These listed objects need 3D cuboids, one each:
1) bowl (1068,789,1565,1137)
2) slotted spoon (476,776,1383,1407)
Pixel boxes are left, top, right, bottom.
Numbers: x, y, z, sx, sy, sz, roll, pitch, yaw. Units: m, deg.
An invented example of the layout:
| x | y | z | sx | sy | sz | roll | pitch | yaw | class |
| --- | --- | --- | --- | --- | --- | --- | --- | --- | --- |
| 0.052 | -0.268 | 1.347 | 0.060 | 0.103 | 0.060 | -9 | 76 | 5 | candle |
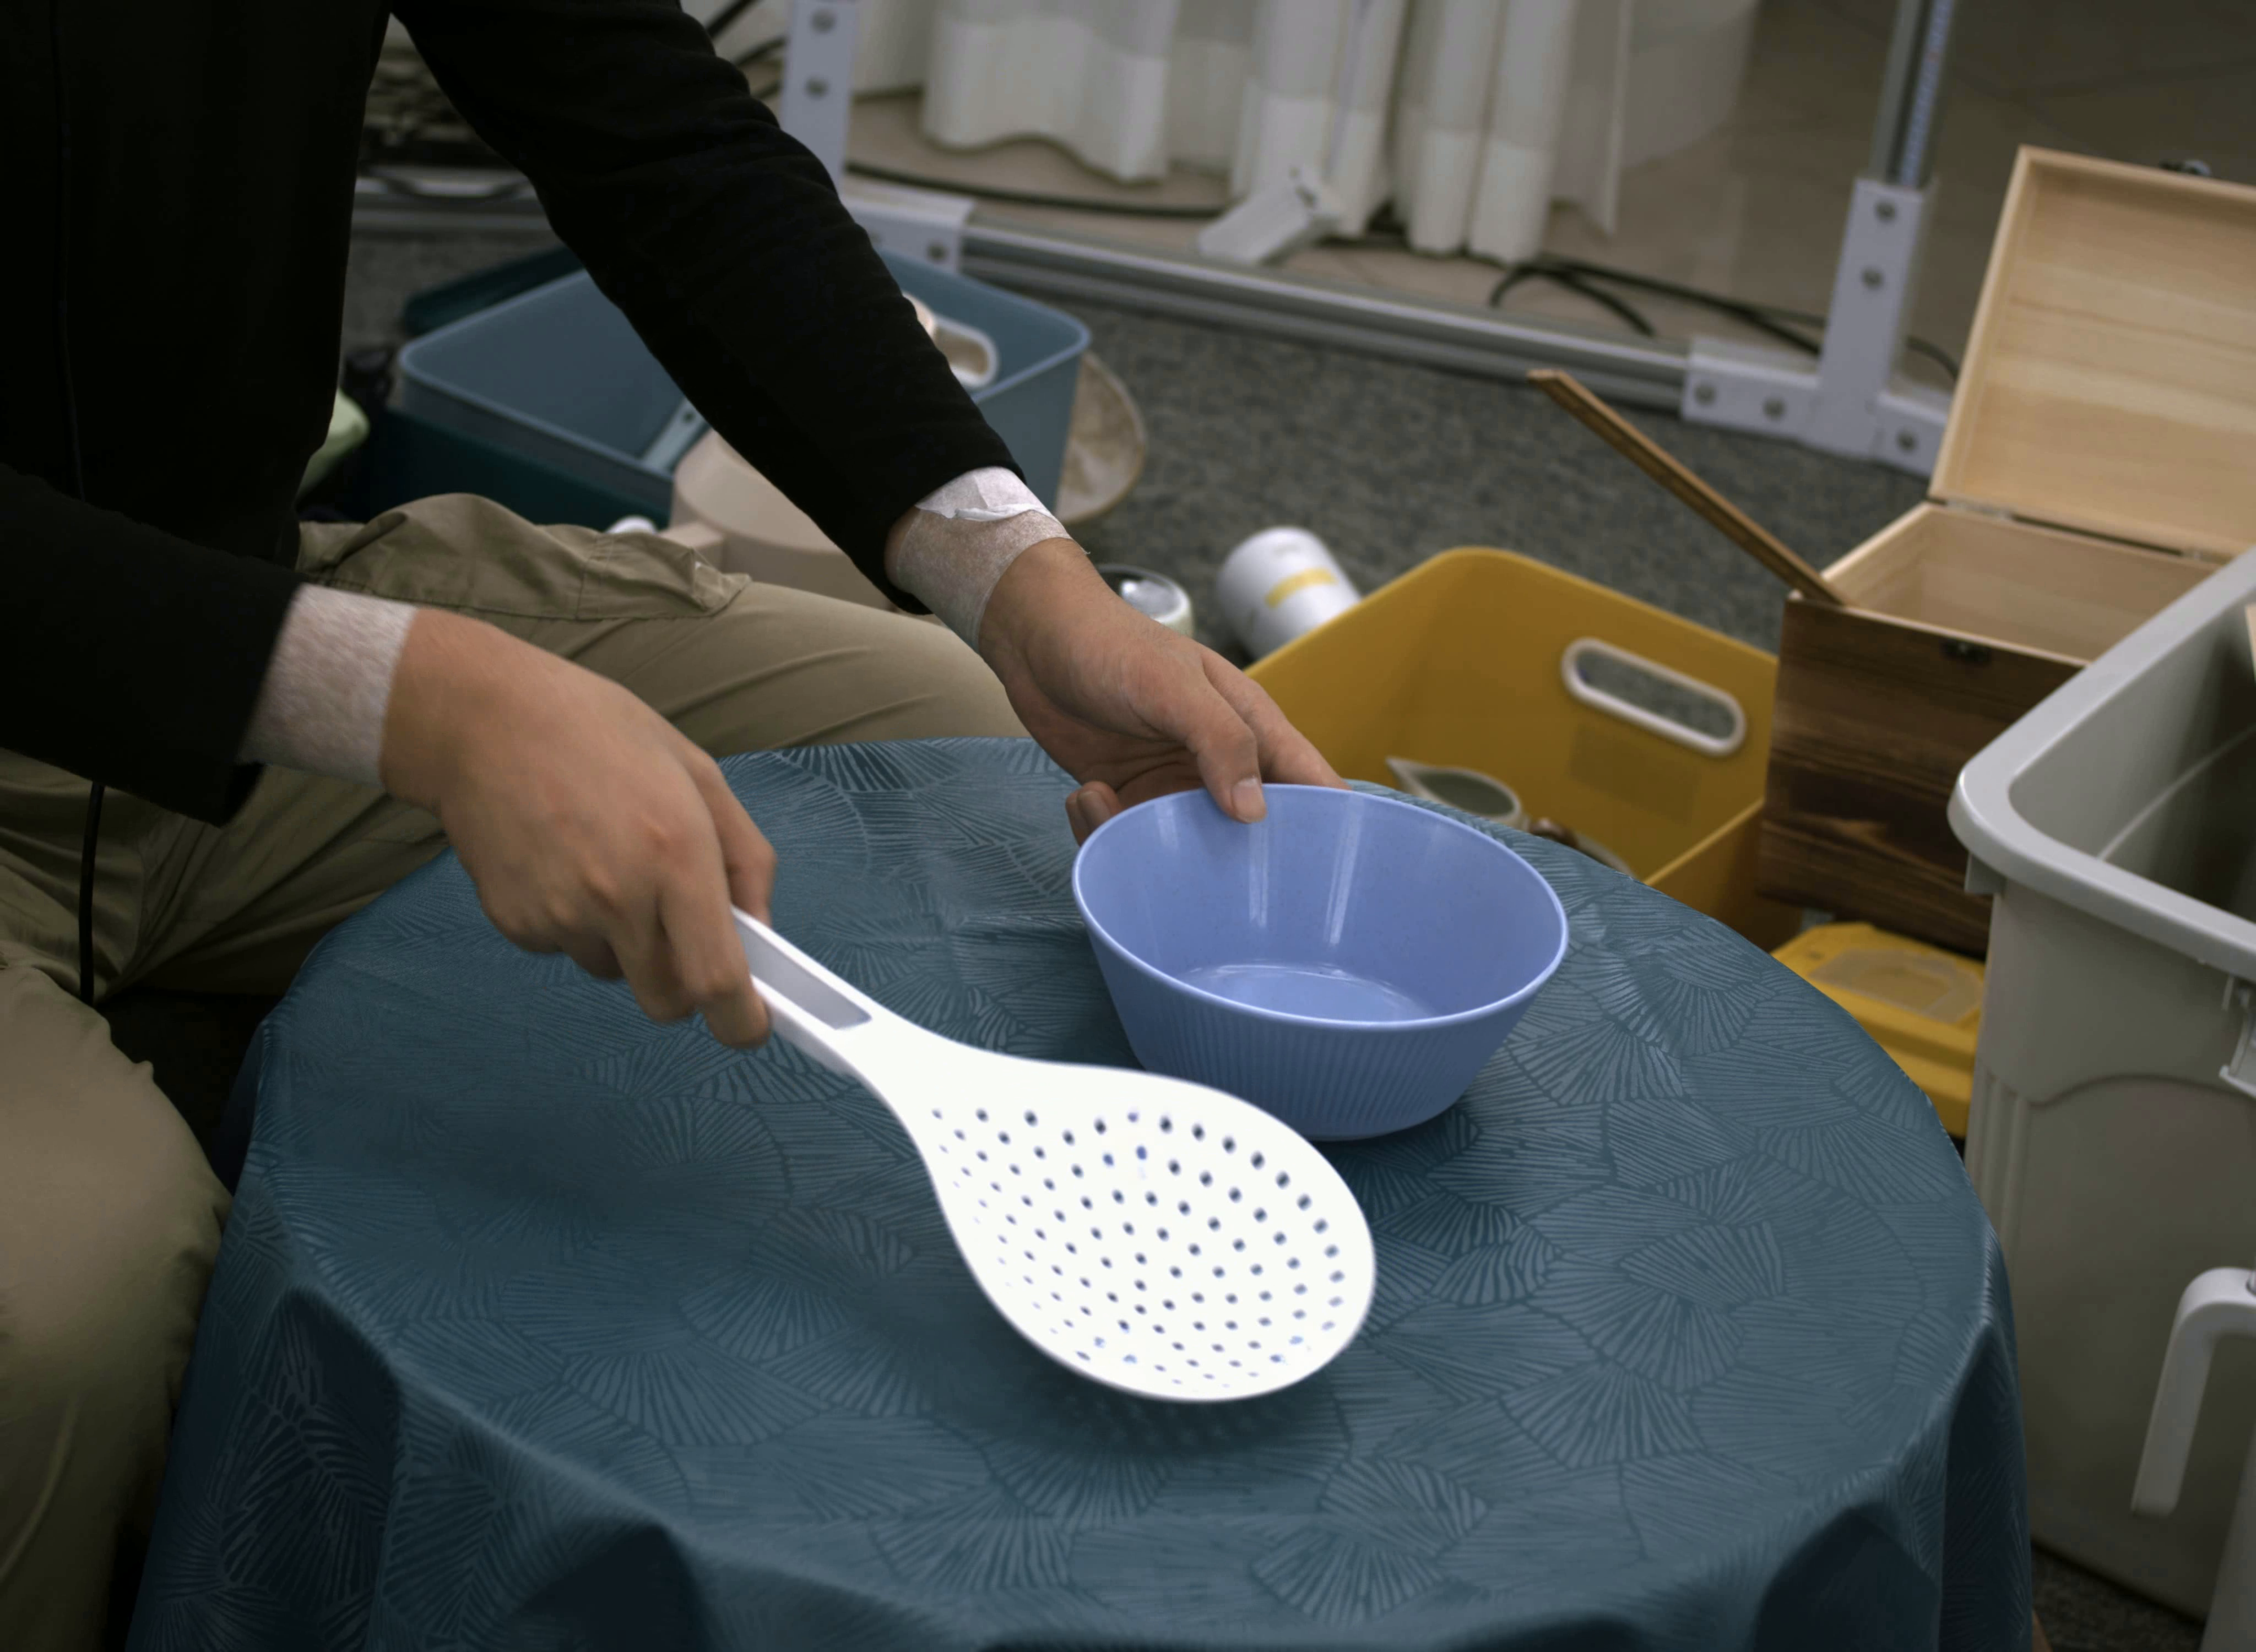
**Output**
| x | y | z | sx | sy | sz | roll | pitch | yaw | class |
| --- | --- | --- | --- | --- | --- | --- | --- | --- | --- |
| 0.063 | 0.054 | 1.877 | 0.175 | 0.070 | 0.177 | 4 | 26 | -2 | bowl |
| -0.073 | 0.081 | 1.731 | 0.351 | 0.045 | 0.136 | 36 | 44 | 15 | slotted spoon |
